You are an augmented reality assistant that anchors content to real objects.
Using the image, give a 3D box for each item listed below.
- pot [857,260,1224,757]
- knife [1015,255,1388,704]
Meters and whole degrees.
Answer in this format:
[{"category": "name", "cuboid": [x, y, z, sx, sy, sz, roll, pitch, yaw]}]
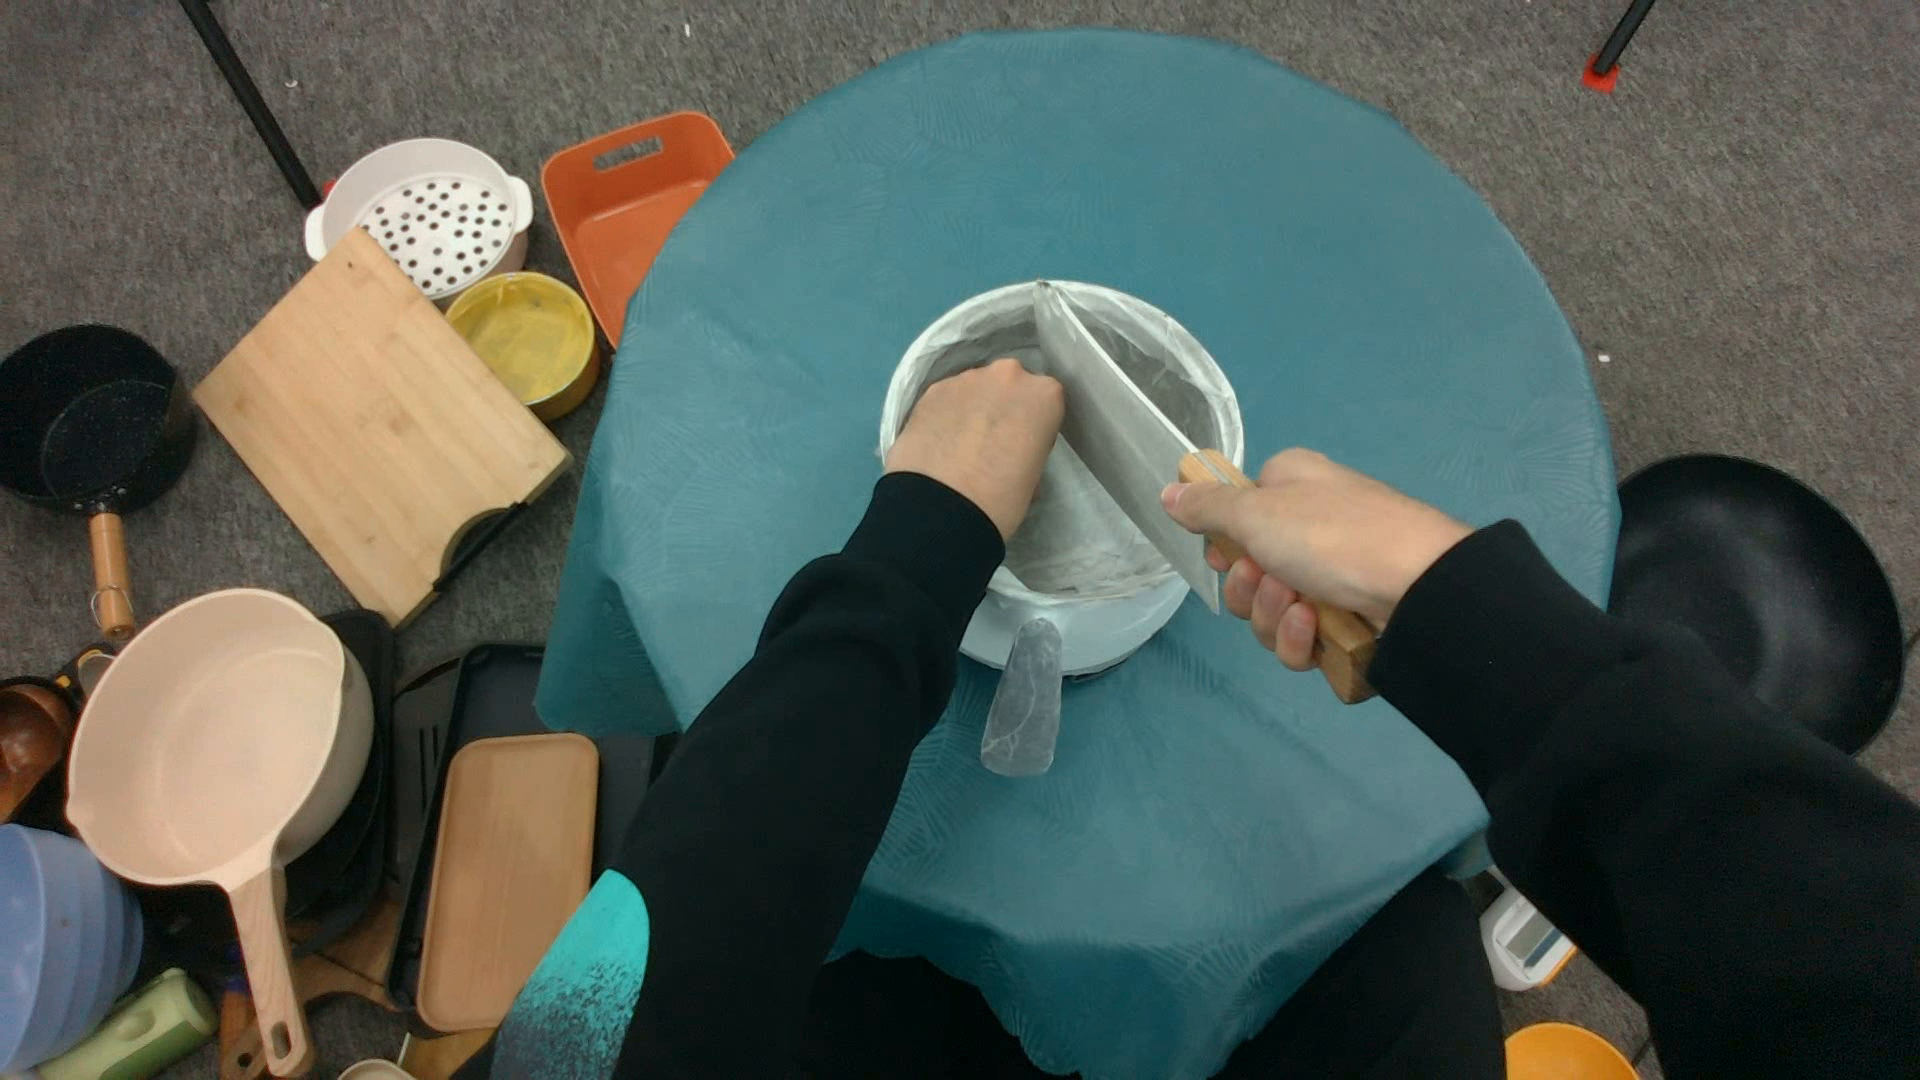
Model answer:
[{"category": "pot", "cuboid": [0.034, -0.011, 0.711, 0.179, 0.136, 0.234, 6, 66, 0]}, {"category": "knife", "cuboid": [0.085, -0.033, 0.598, 0.022, 0.113, 0.316, -21, 35, -10]}]
